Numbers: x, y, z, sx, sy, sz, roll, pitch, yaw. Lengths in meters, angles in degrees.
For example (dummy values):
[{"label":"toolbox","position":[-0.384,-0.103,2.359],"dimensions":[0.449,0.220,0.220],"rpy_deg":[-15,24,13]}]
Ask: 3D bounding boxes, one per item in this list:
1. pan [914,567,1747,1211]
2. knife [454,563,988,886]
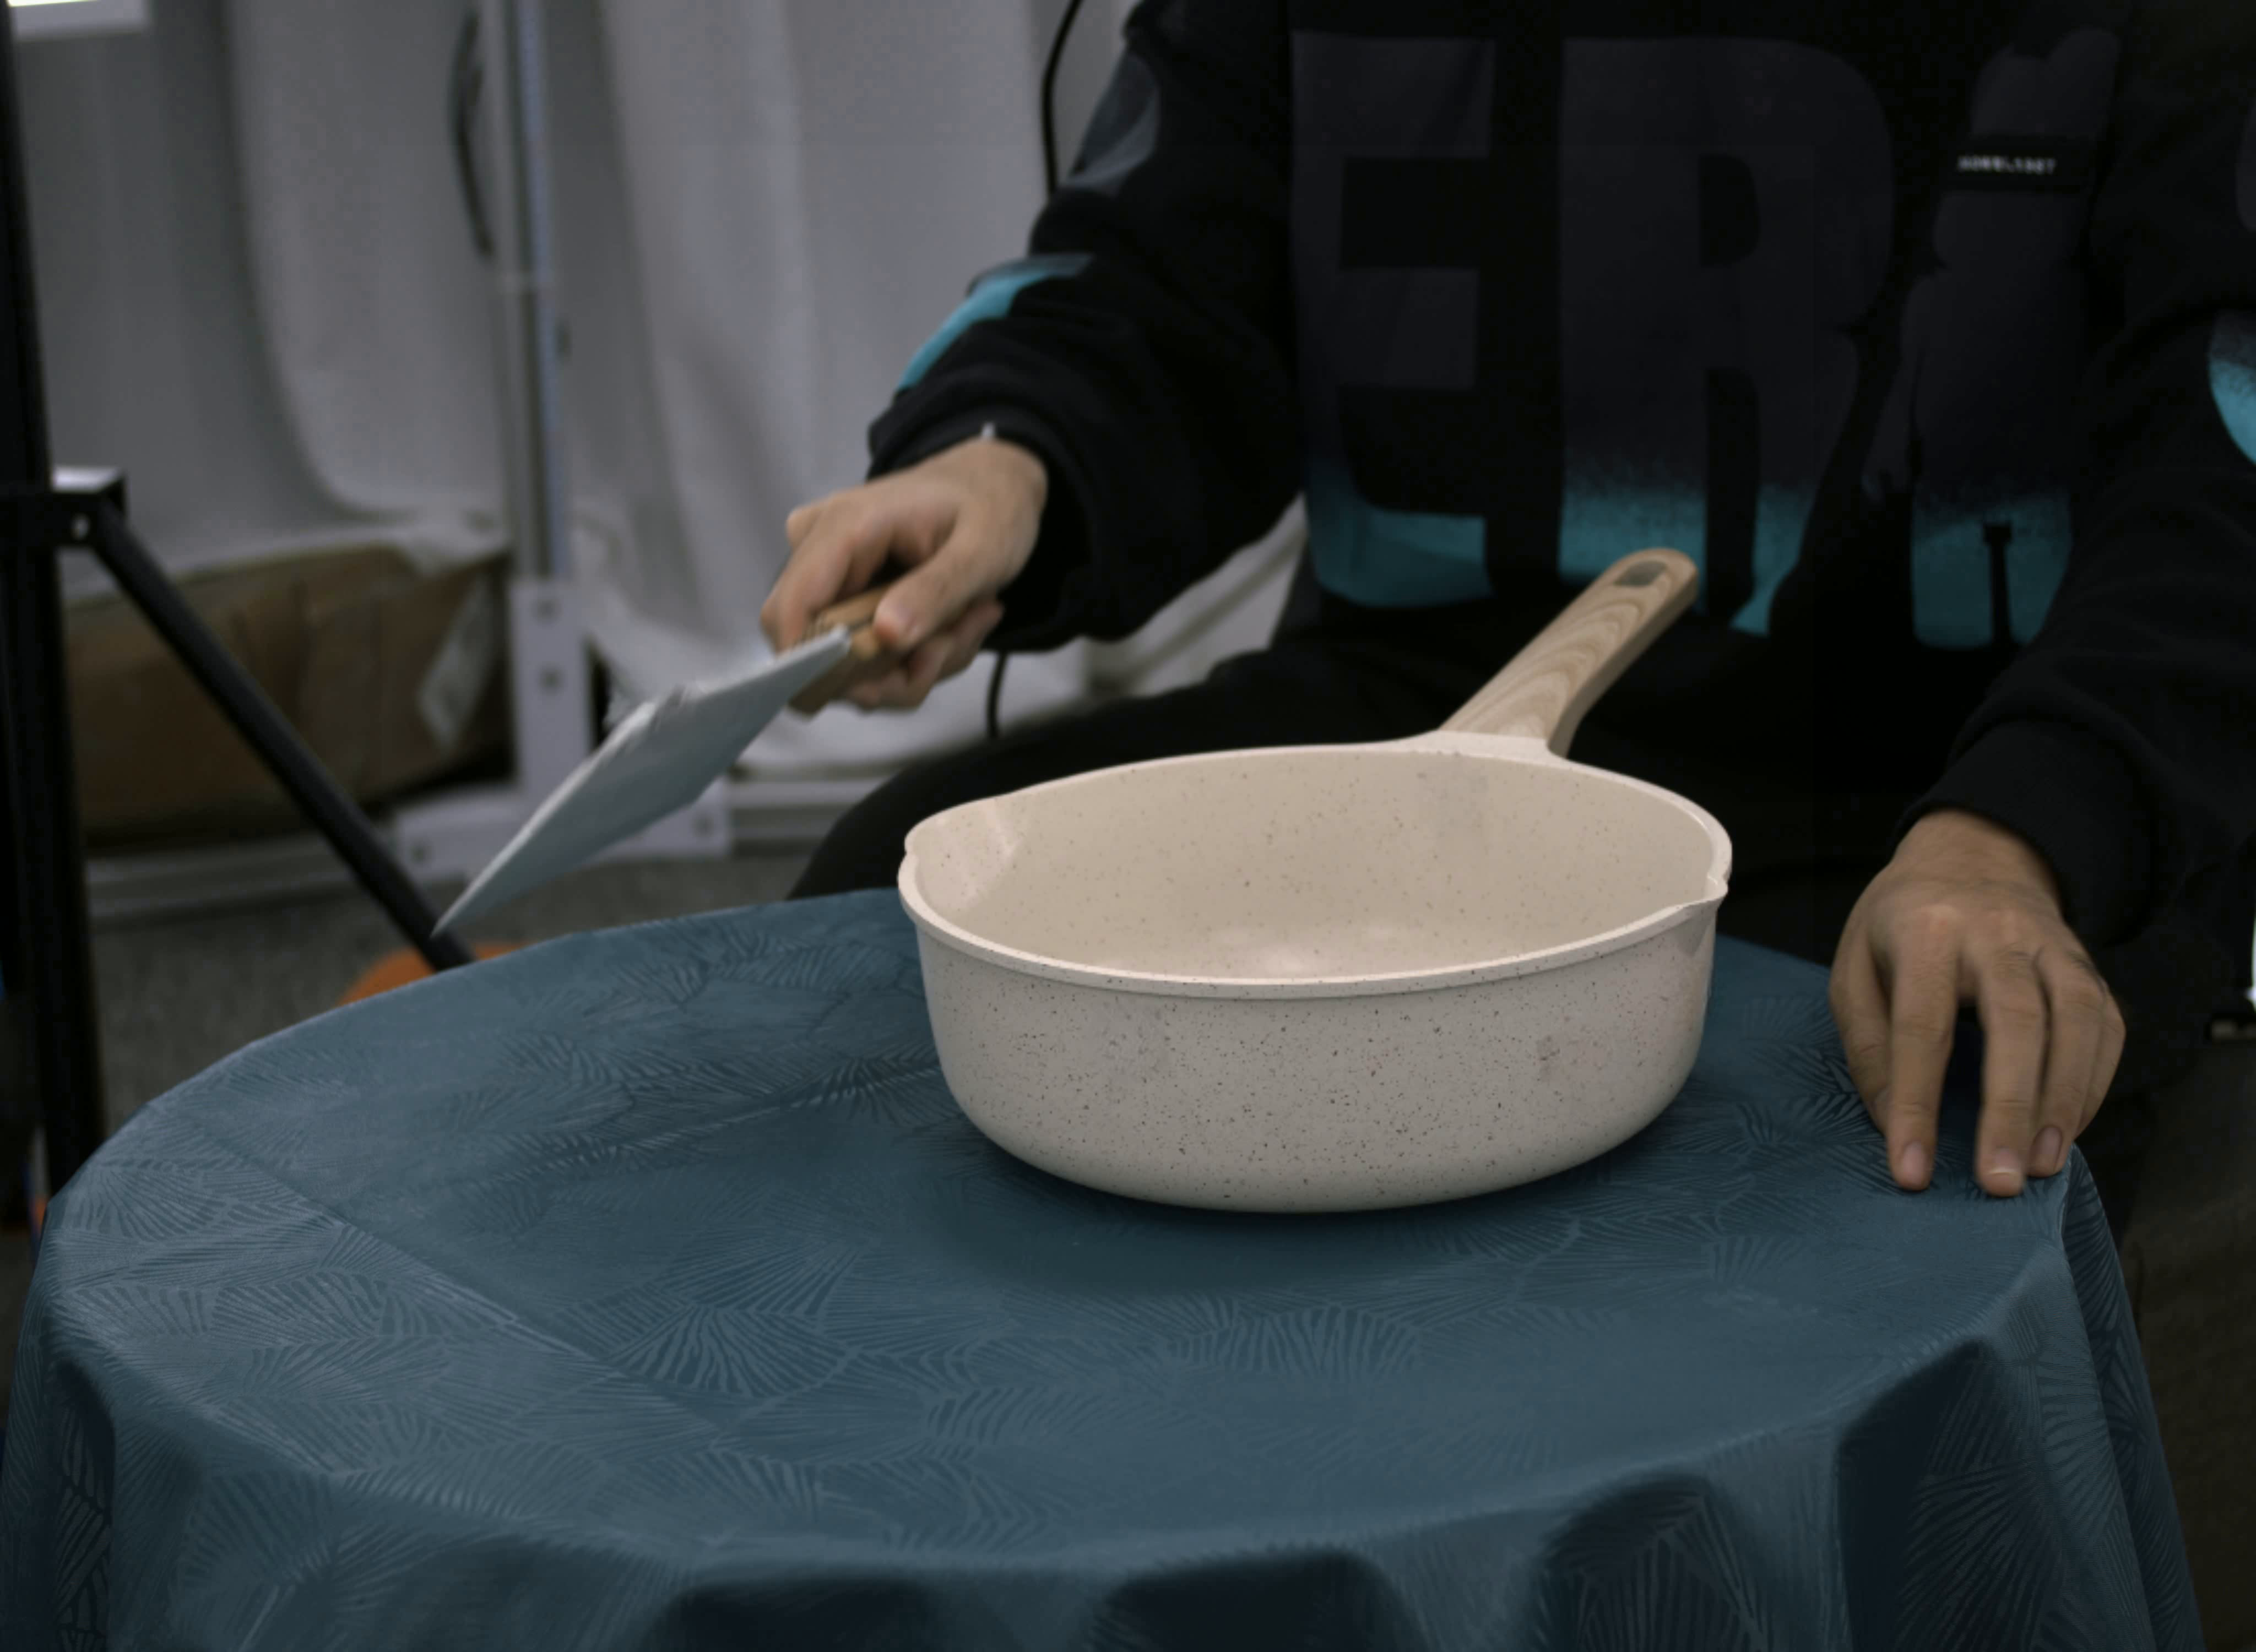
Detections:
[{"label":"pan","position":[0.099,0.017,1.683],"dimensions":[0.267,0.102,0.428],"rpy_deg":[2,16,25]},{"label":"knife","position":[-0.118,-0.042,1.708],"dimensions":[0.022,0.115,0.311],"rpy_deg":[46,26,6]}]
